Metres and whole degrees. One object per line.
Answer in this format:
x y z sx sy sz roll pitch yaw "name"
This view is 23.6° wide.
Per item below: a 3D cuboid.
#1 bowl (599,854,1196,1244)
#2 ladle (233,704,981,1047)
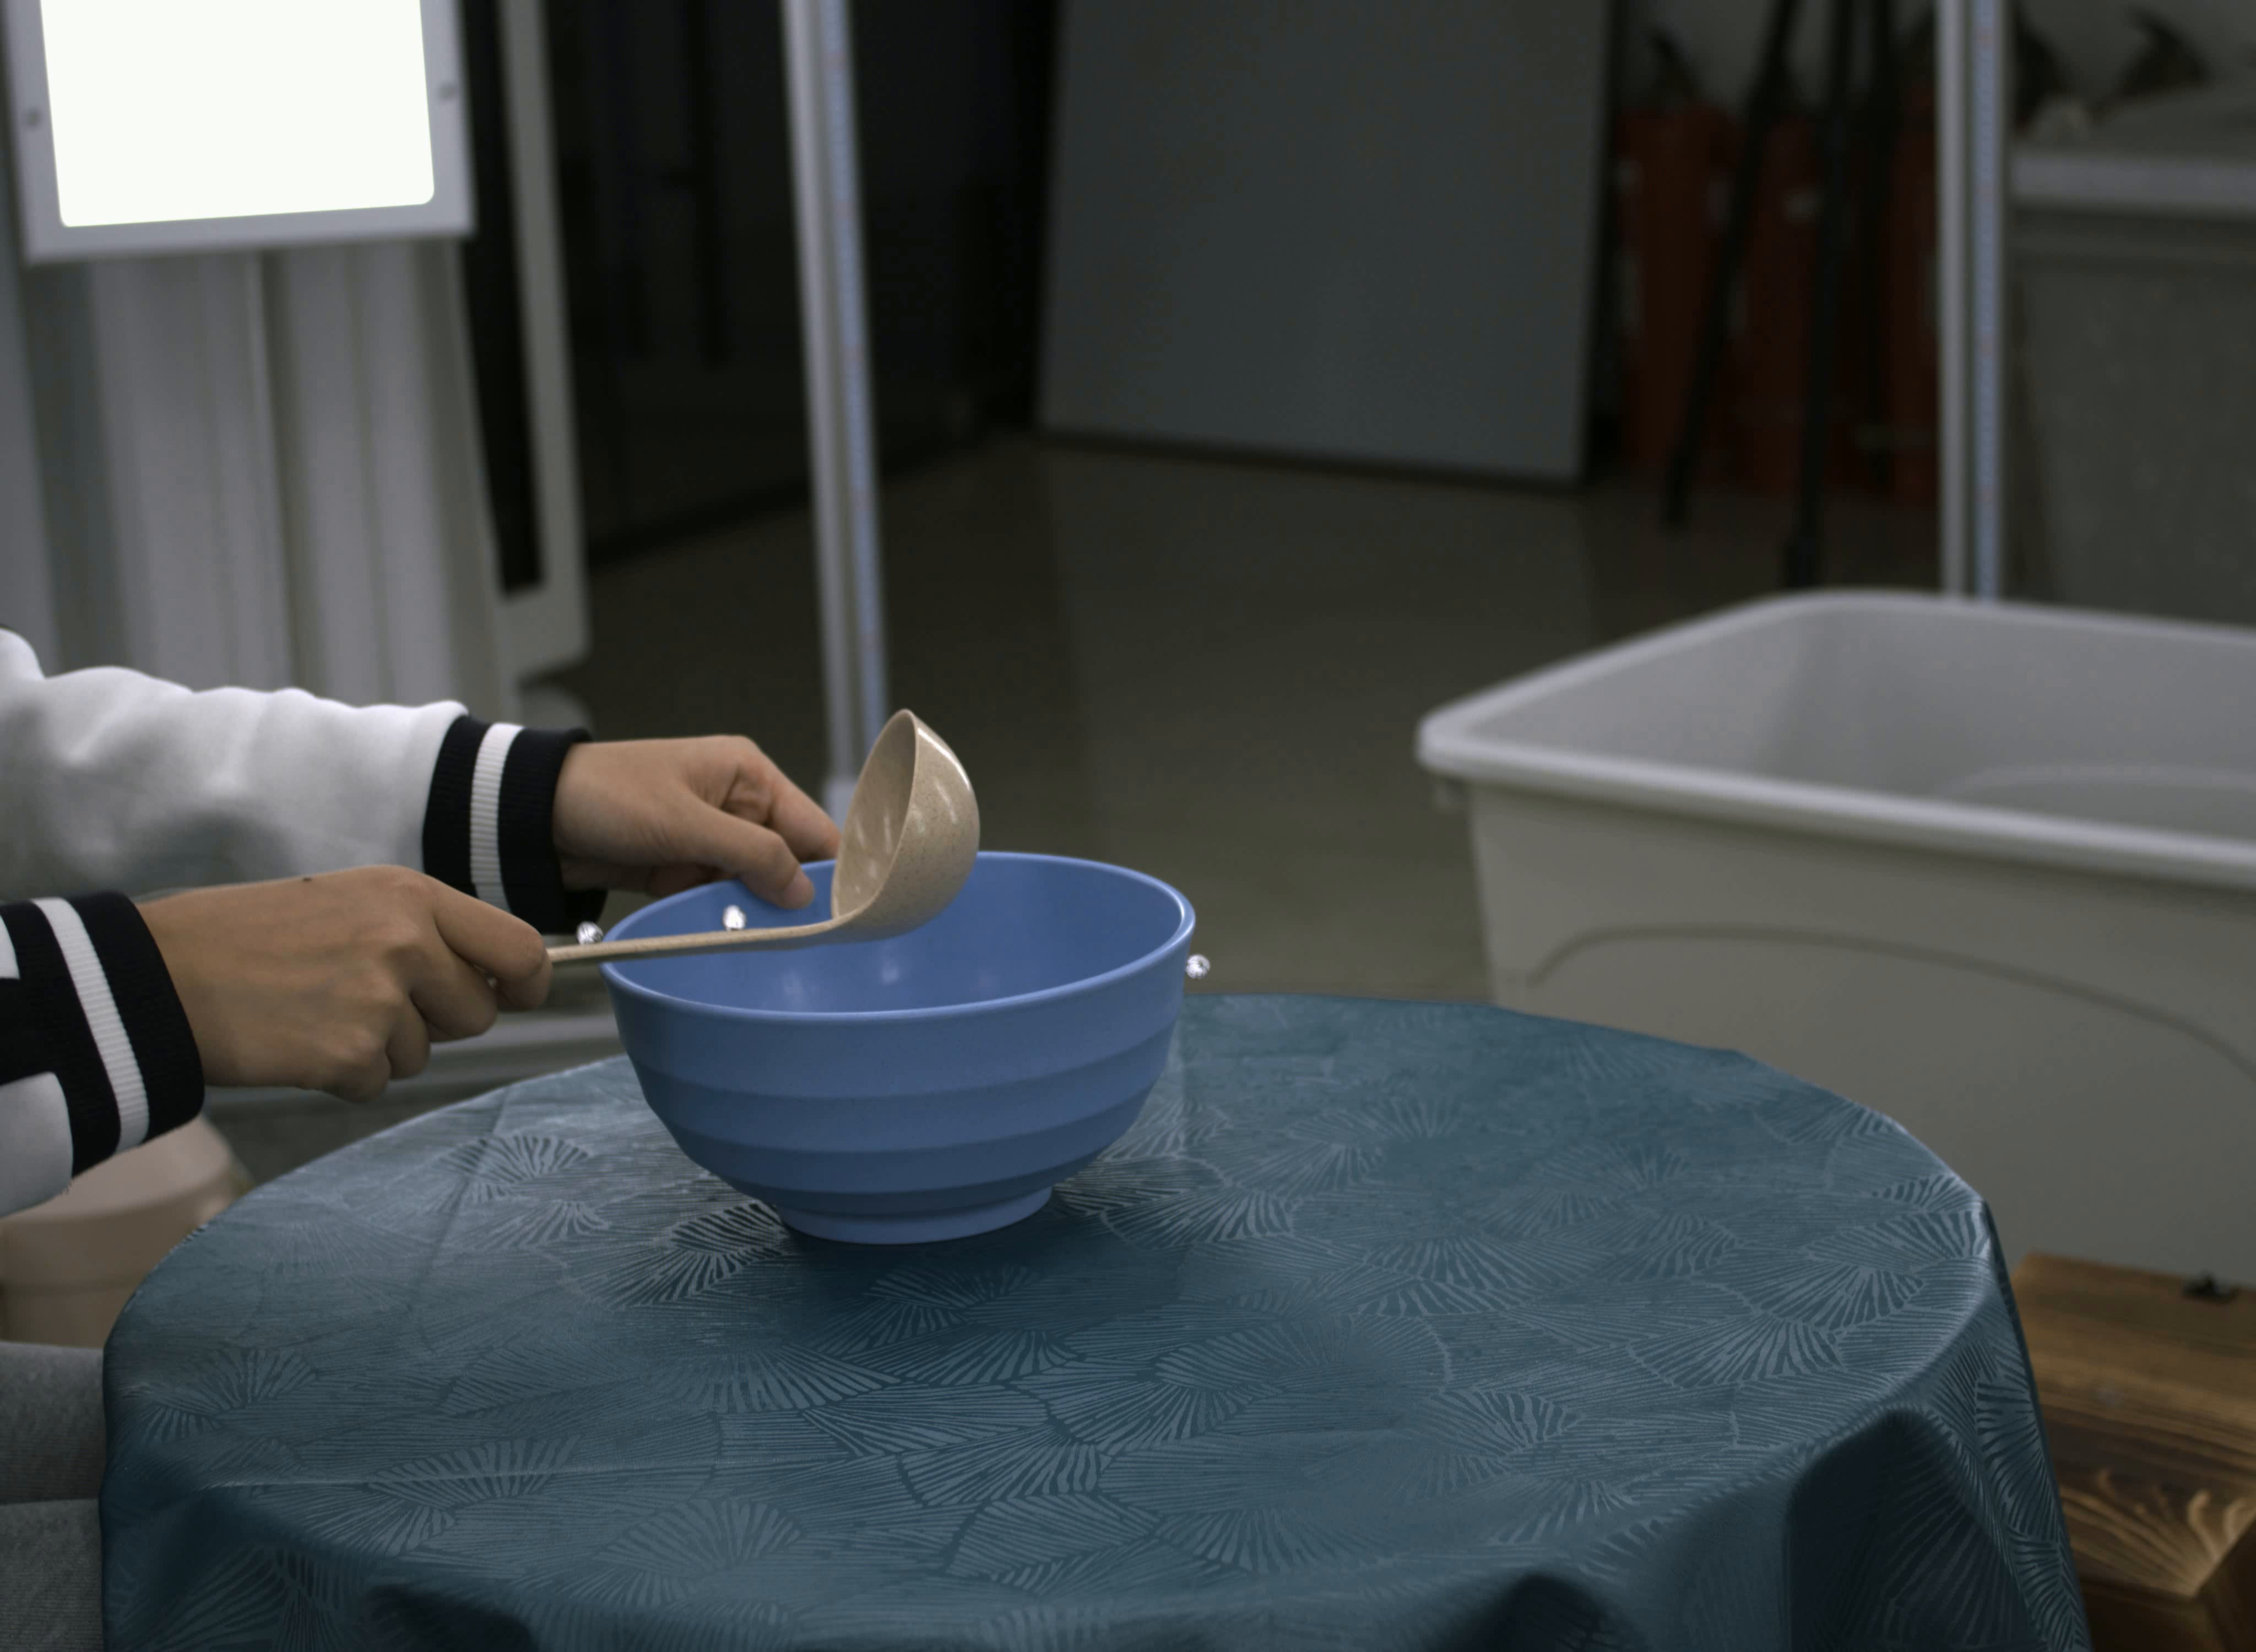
-0.074 0.078 1.764 0.194 0.096 0.197 -1 13 -1 "bowl"
-0.165 0.014 1.678 0.249 0.074 0.073 -9 -15 -26 "ladle"
